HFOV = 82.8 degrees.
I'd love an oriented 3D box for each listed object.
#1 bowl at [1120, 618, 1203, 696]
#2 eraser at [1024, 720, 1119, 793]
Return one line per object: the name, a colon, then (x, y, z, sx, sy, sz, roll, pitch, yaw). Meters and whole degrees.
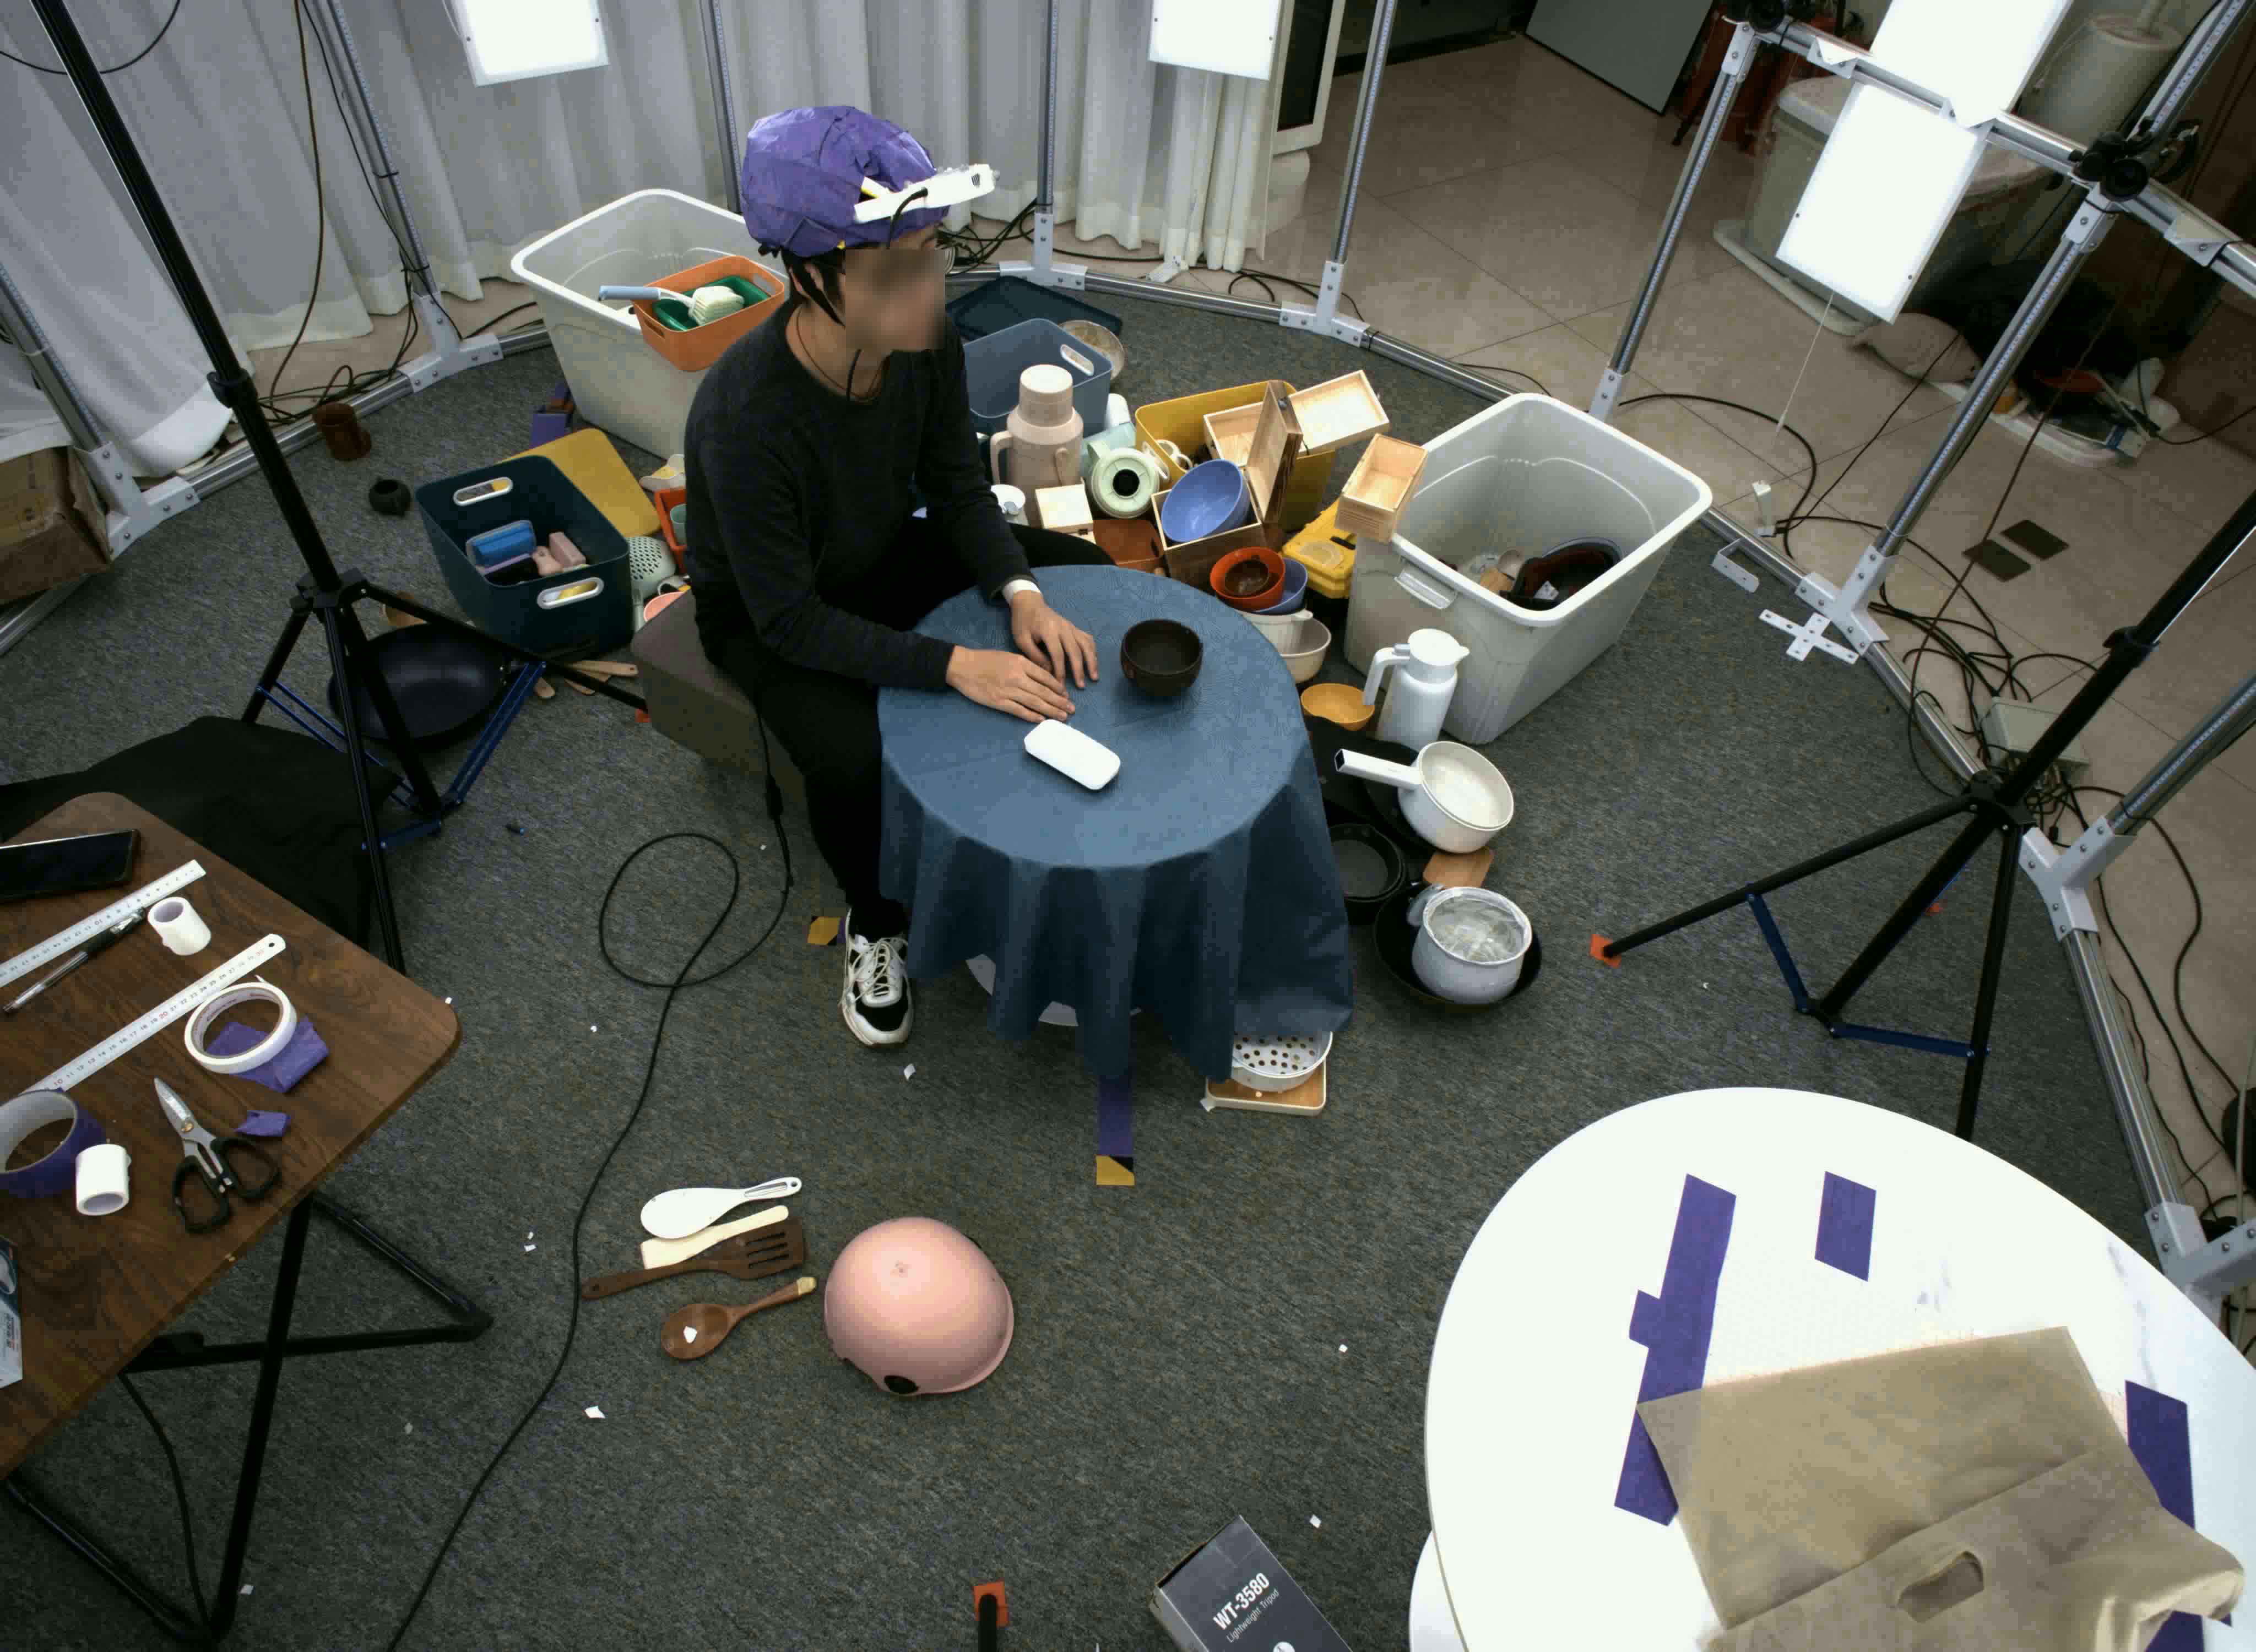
bowl: (0.046, -0.232, 1.828, 0.118, 0.068, 0.121, 1, 49, -2)
eraser: (-0.076, -0.097, 1.729, 0.133, 0.034, 0.064, 32, 54, 21)
